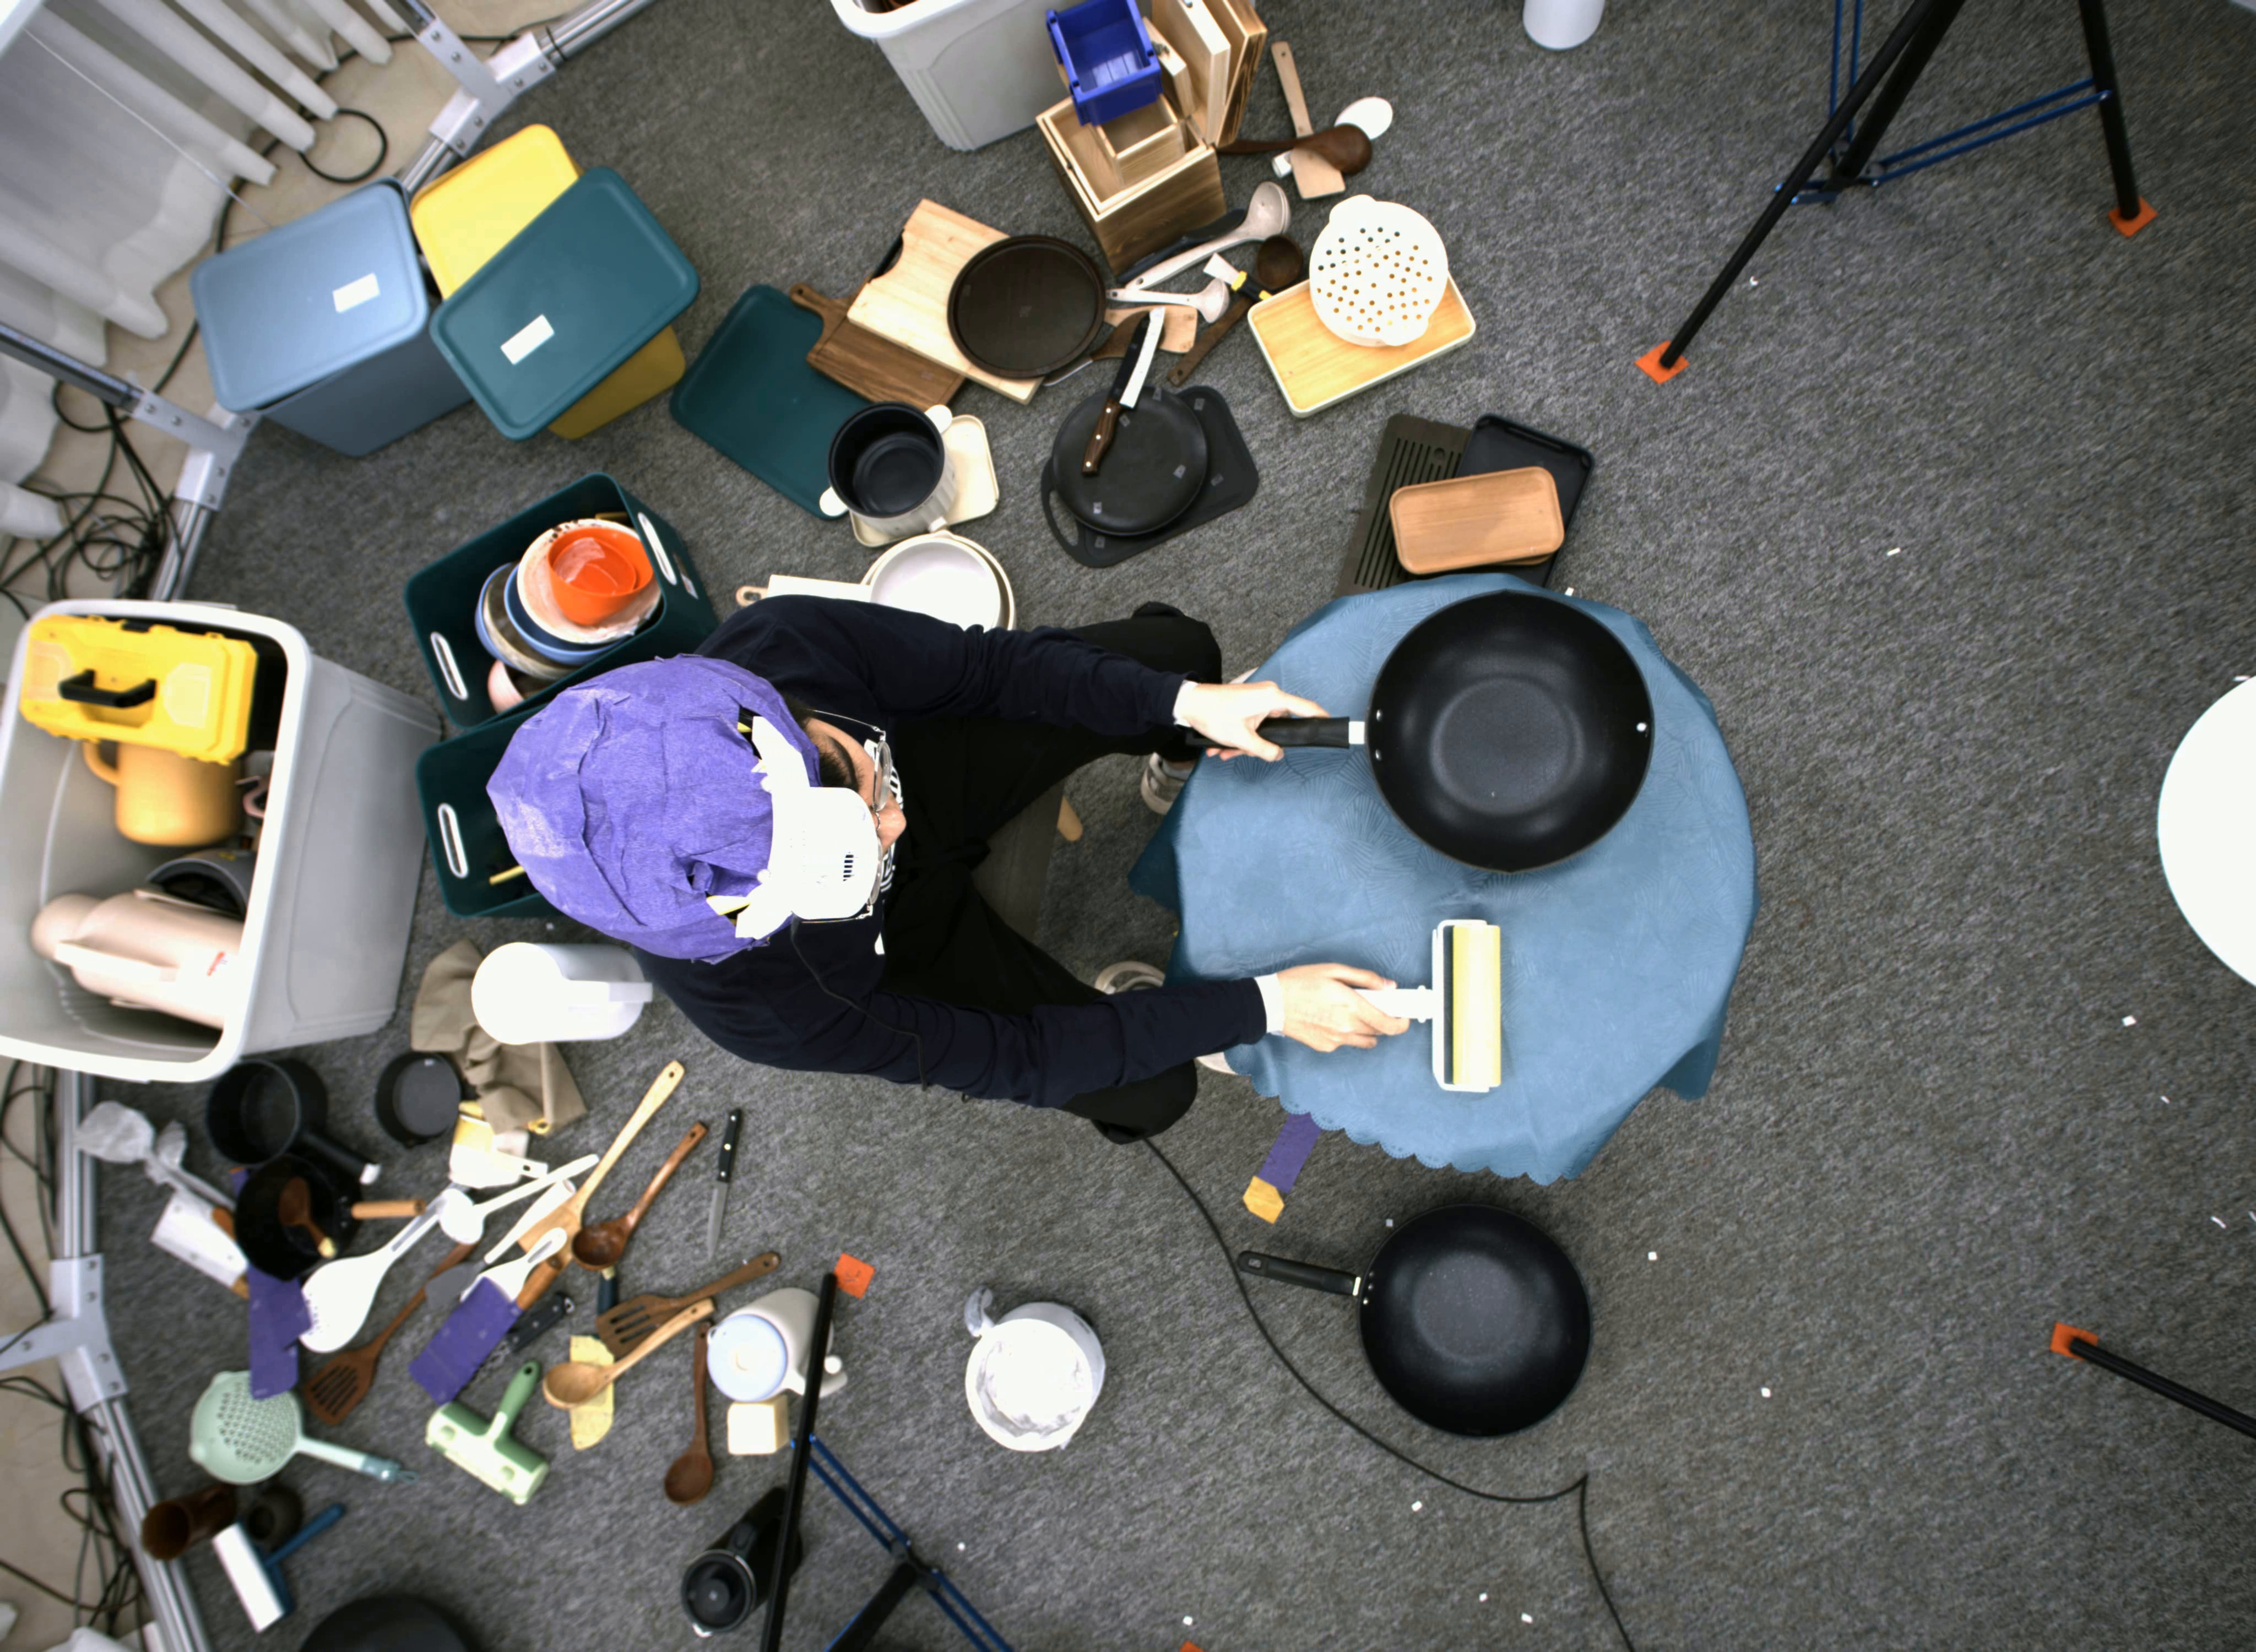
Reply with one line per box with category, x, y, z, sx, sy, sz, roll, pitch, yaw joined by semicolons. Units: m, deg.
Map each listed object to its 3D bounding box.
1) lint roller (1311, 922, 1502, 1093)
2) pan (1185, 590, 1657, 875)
lint roller;0.285;0.183;1.412;0.192;0.051;0.173;0;86;-1
pan;0.291;-0.090;1.401;0.465;0.087;0.286;0;83;14
